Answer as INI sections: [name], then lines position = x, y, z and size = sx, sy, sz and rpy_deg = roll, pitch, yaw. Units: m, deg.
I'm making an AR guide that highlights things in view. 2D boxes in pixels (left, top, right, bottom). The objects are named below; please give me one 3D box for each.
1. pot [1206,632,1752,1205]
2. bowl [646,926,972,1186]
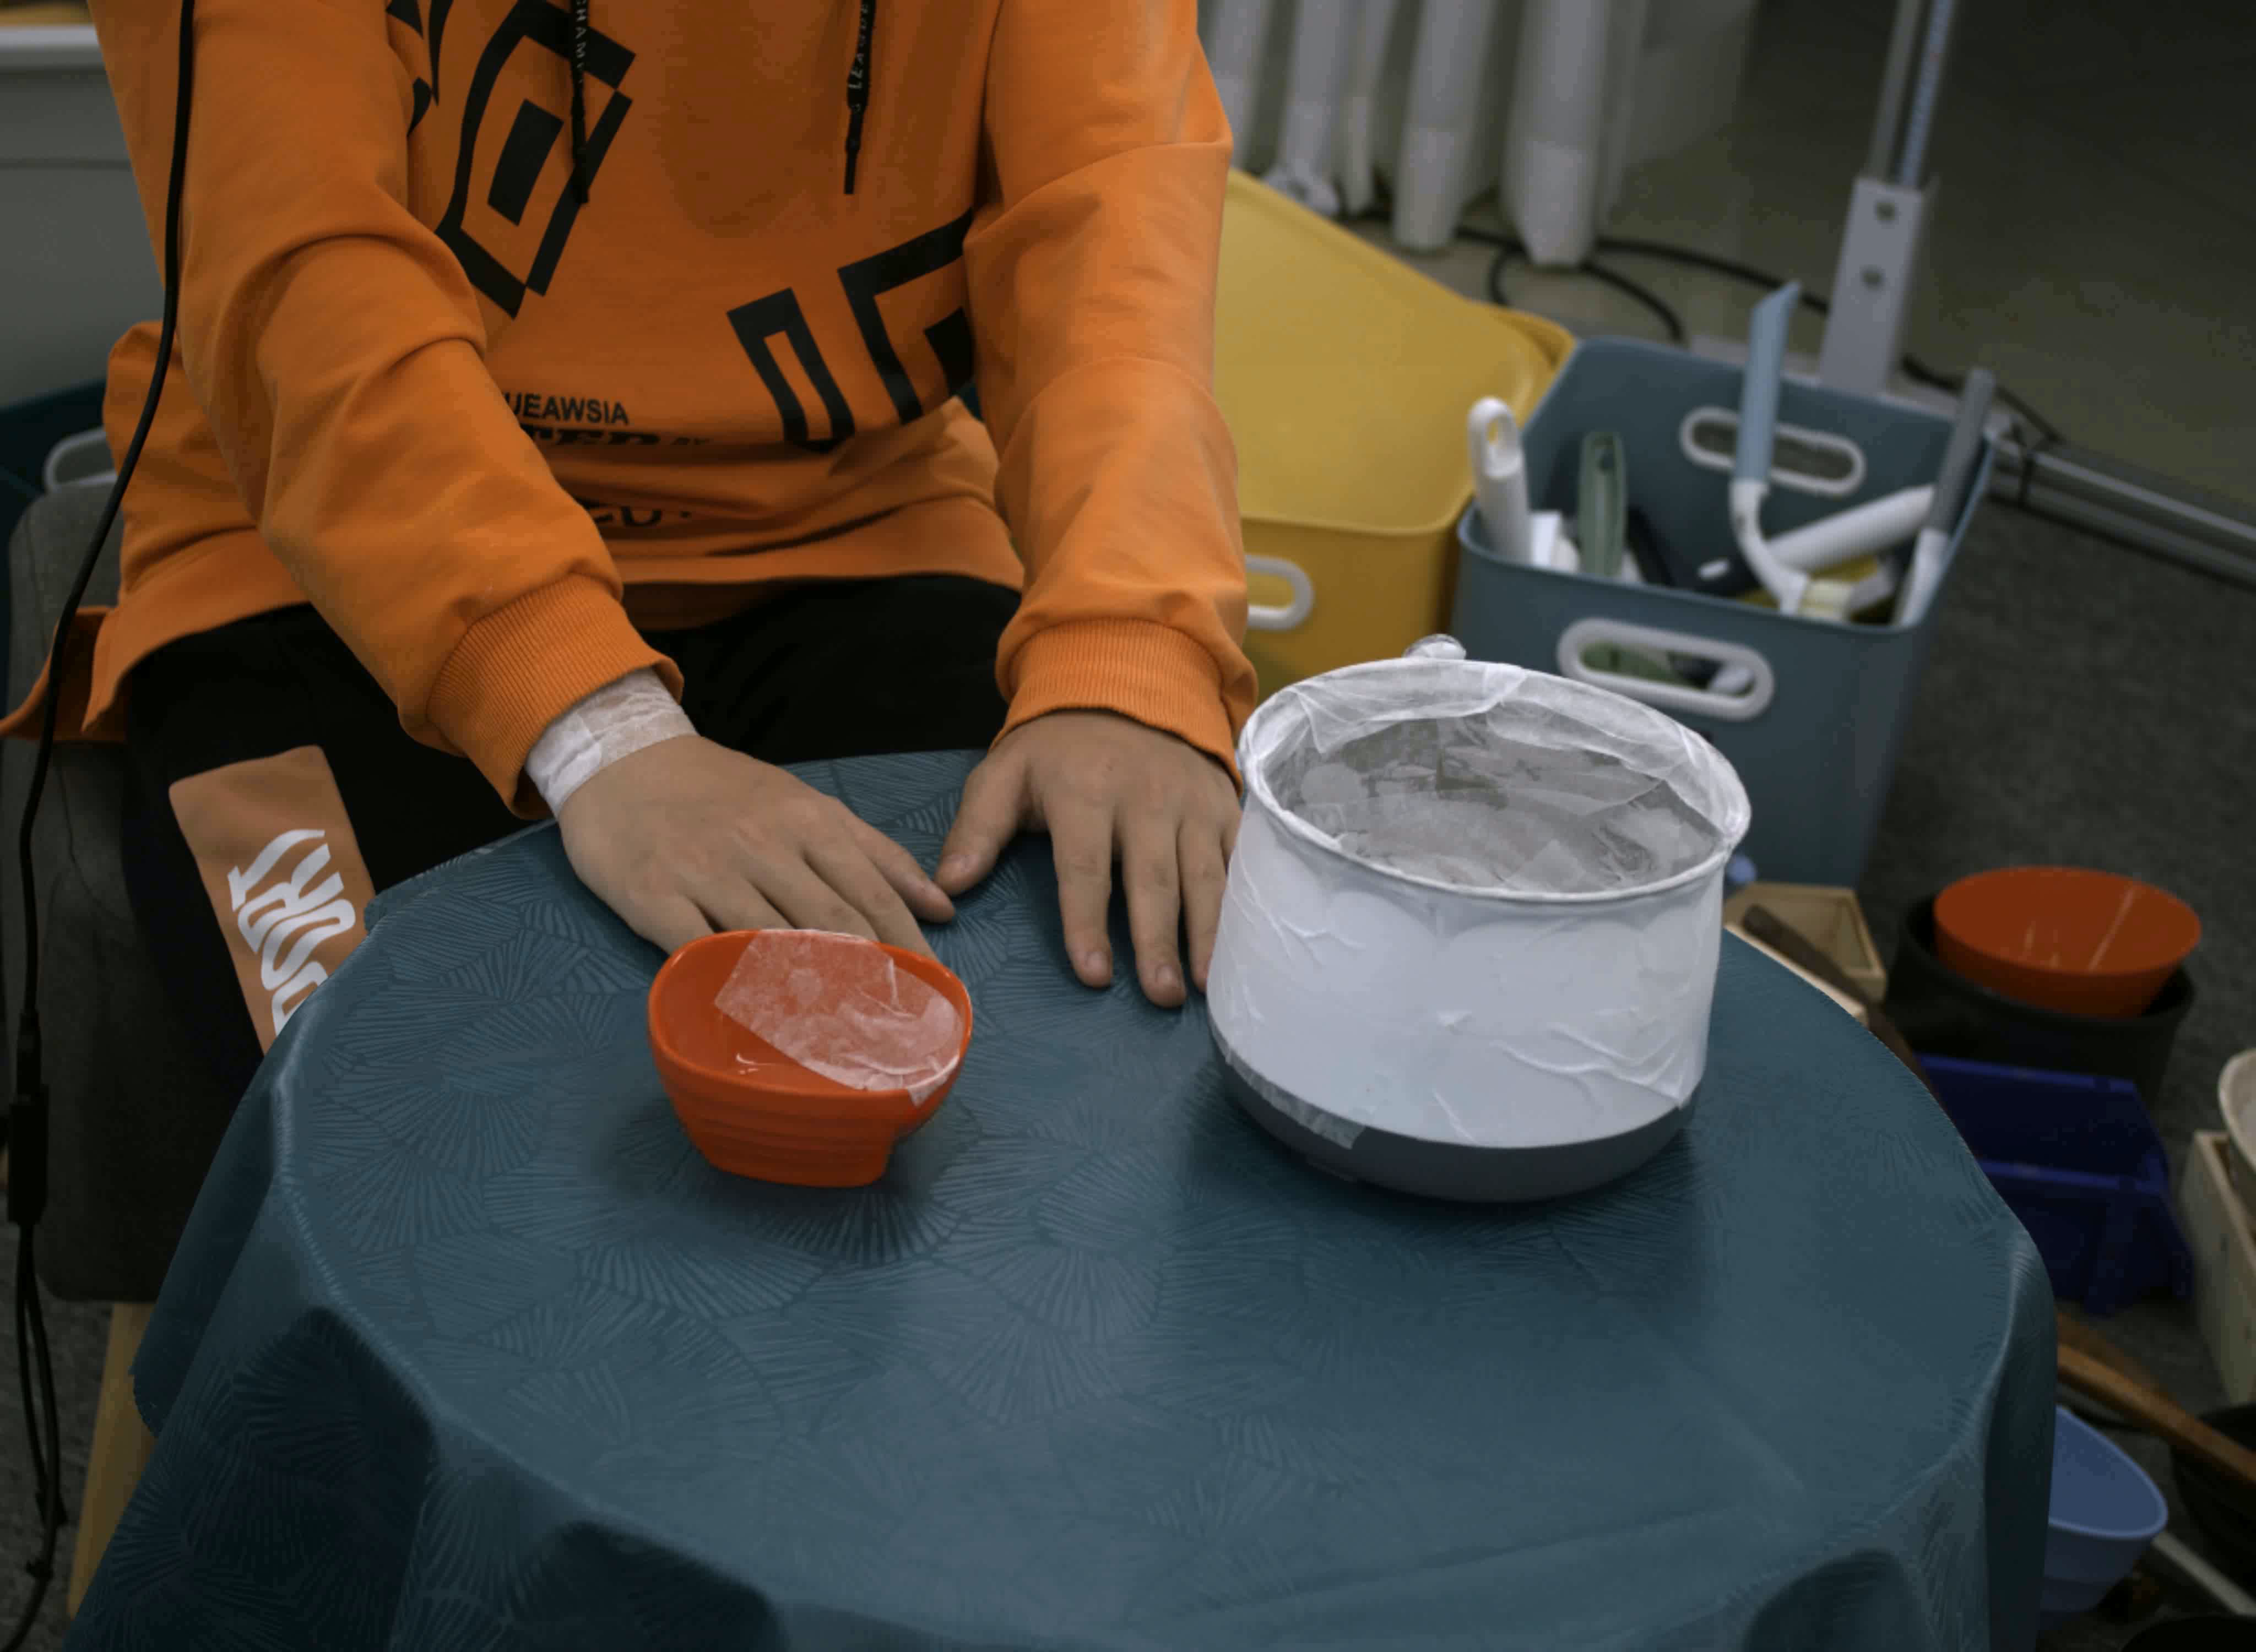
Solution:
[pot]
position = 0.114, 0.025, 1.870
size = 0.178, 0.136, 0.235
rpy_deg = 2, 28, -11
[bowl]
position = -0.109, 0.082, 1.802
size = 0.118, 0.051, 0.119
rpy_deg = 4, 28, -2
